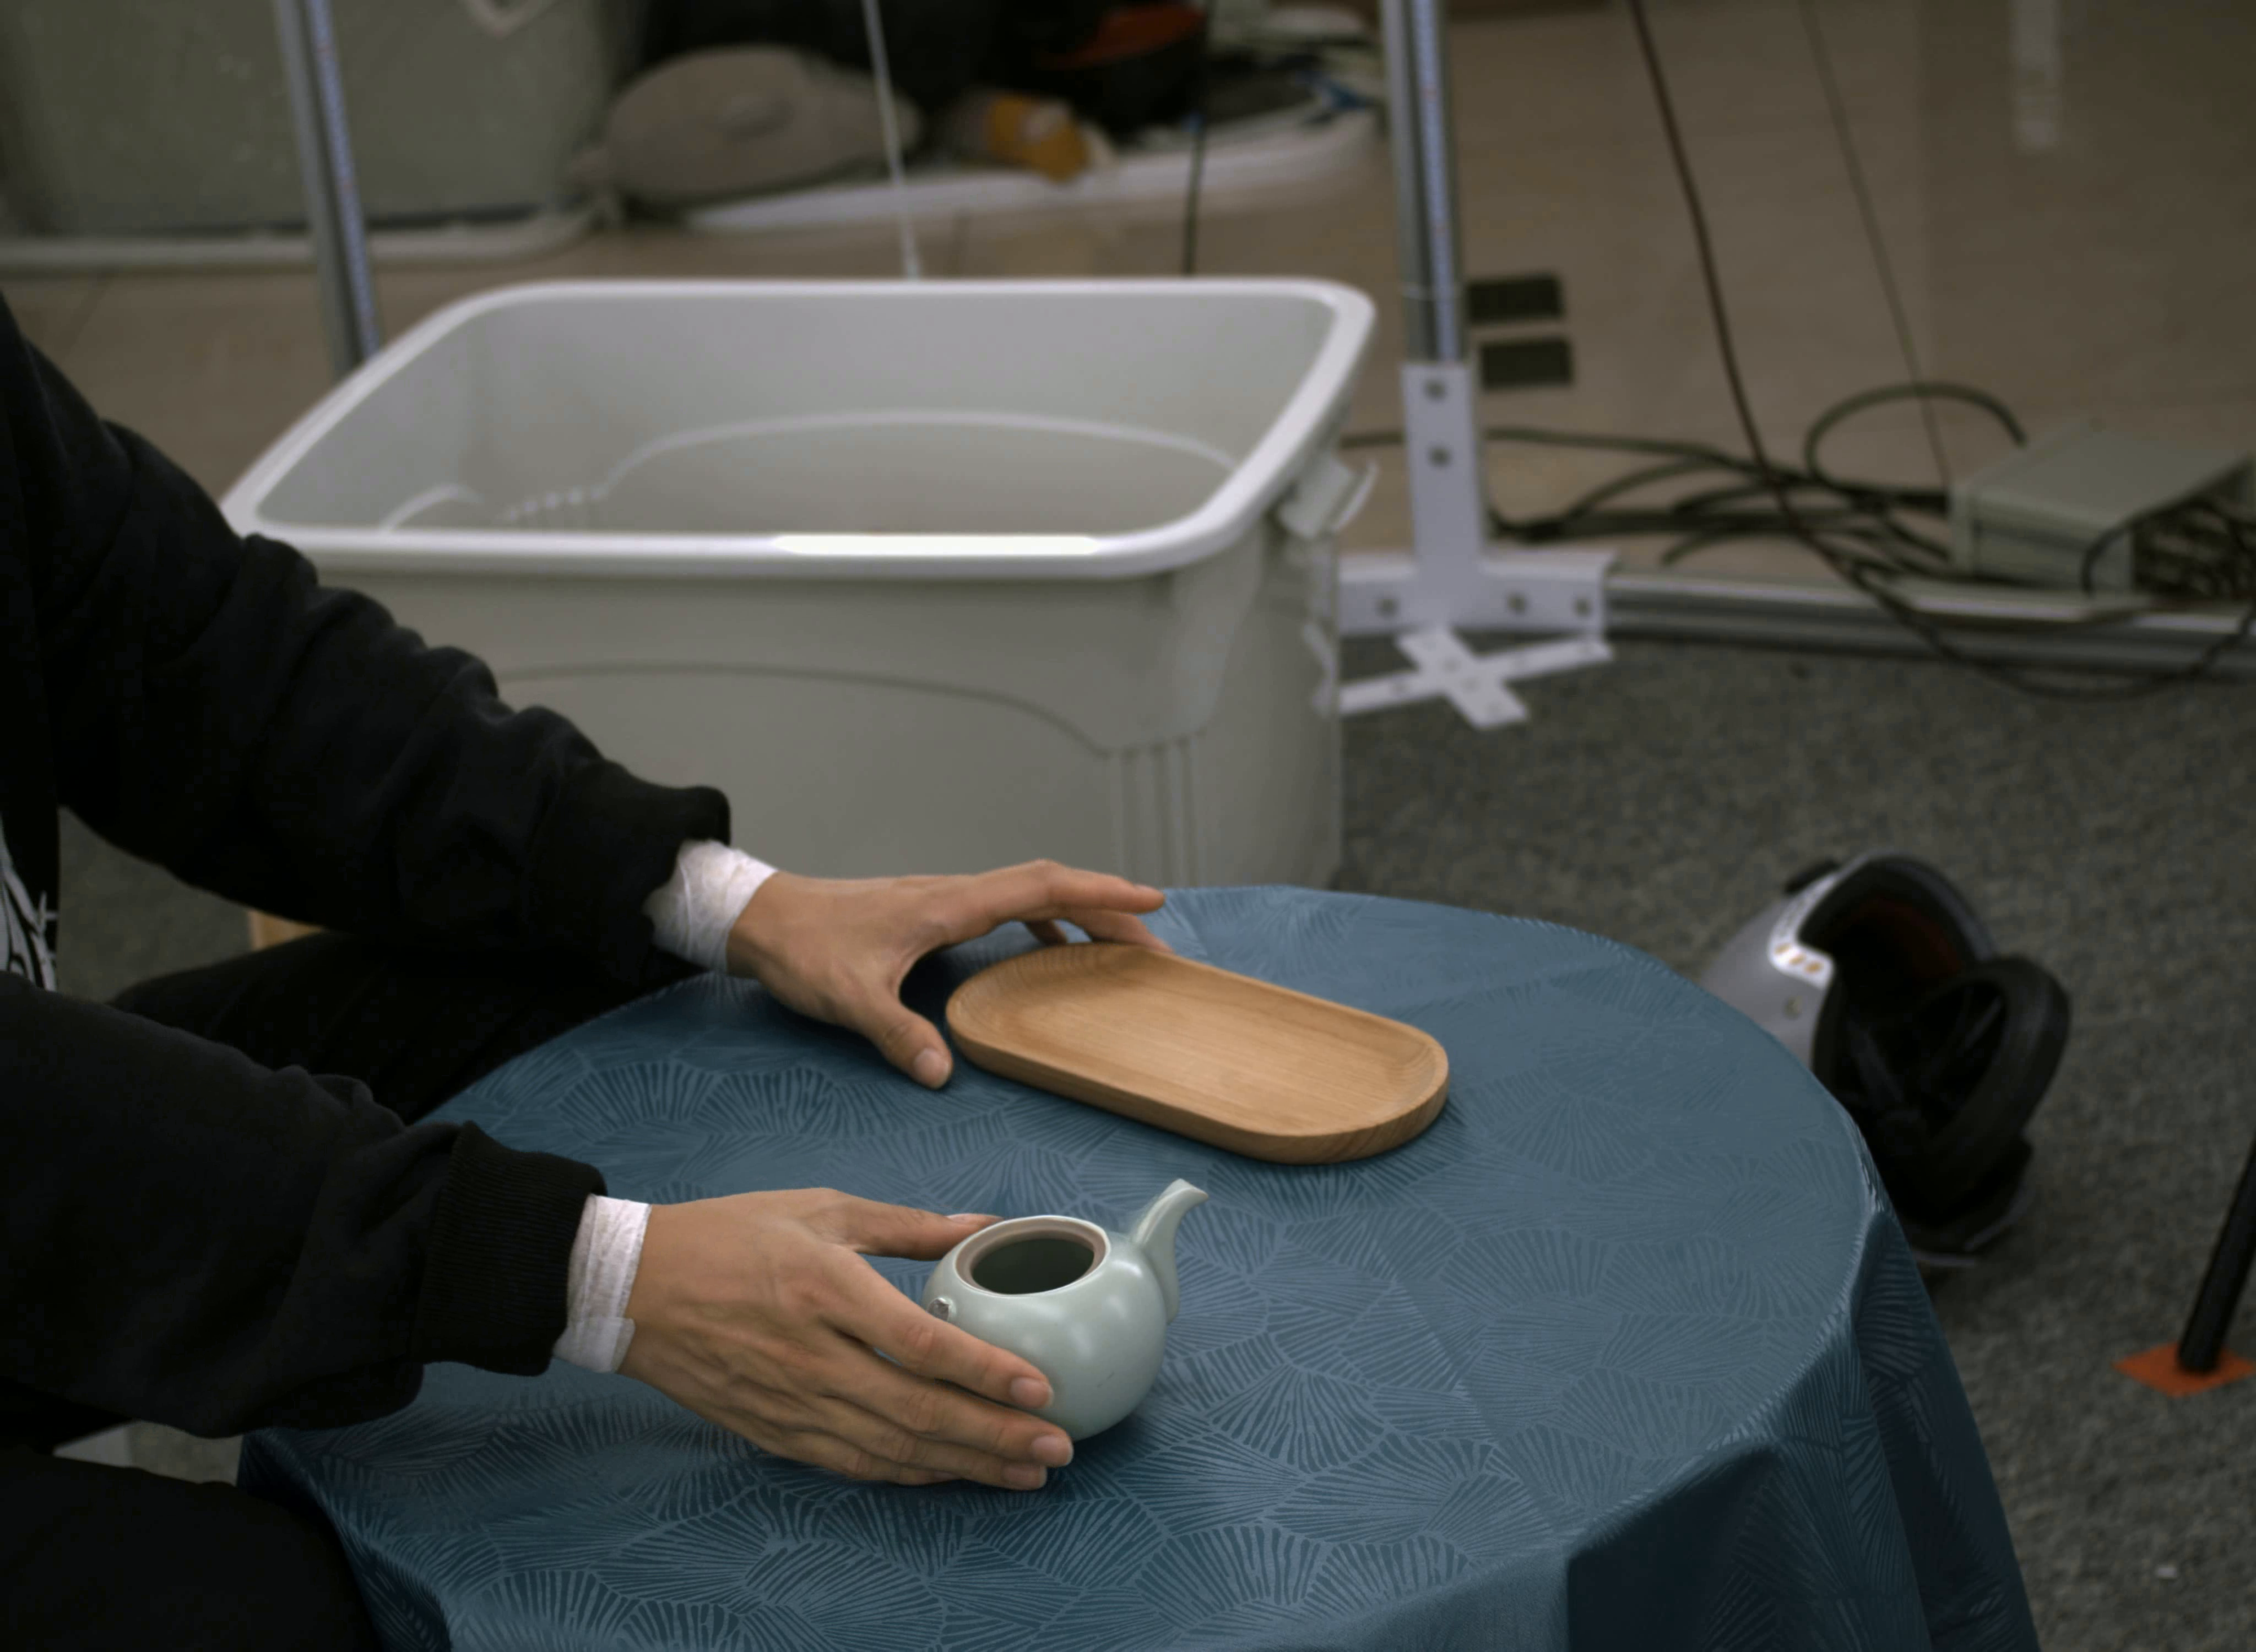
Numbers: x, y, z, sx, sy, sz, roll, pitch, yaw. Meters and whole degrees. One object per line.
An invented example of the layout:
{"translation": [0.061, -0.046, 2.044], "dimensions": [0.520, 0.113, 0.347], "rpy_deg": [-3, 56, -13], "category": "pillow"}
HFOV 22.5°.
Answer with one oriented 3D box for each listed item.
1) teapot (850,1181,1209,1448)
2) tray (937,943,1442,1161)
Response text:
{"translation": [-0.031, 0.176, 1.991], "dimensions": [0.143, 0.076, 0.087], "rpy_deg": [-17, 26, -23], "category": "teapot"}
{"translation": [0.023, 0.088, 2.234], "dimensions": [0.230, 0.020, 0.101], "rpy_deg": [14, 30, 40], "category": "tray"}
